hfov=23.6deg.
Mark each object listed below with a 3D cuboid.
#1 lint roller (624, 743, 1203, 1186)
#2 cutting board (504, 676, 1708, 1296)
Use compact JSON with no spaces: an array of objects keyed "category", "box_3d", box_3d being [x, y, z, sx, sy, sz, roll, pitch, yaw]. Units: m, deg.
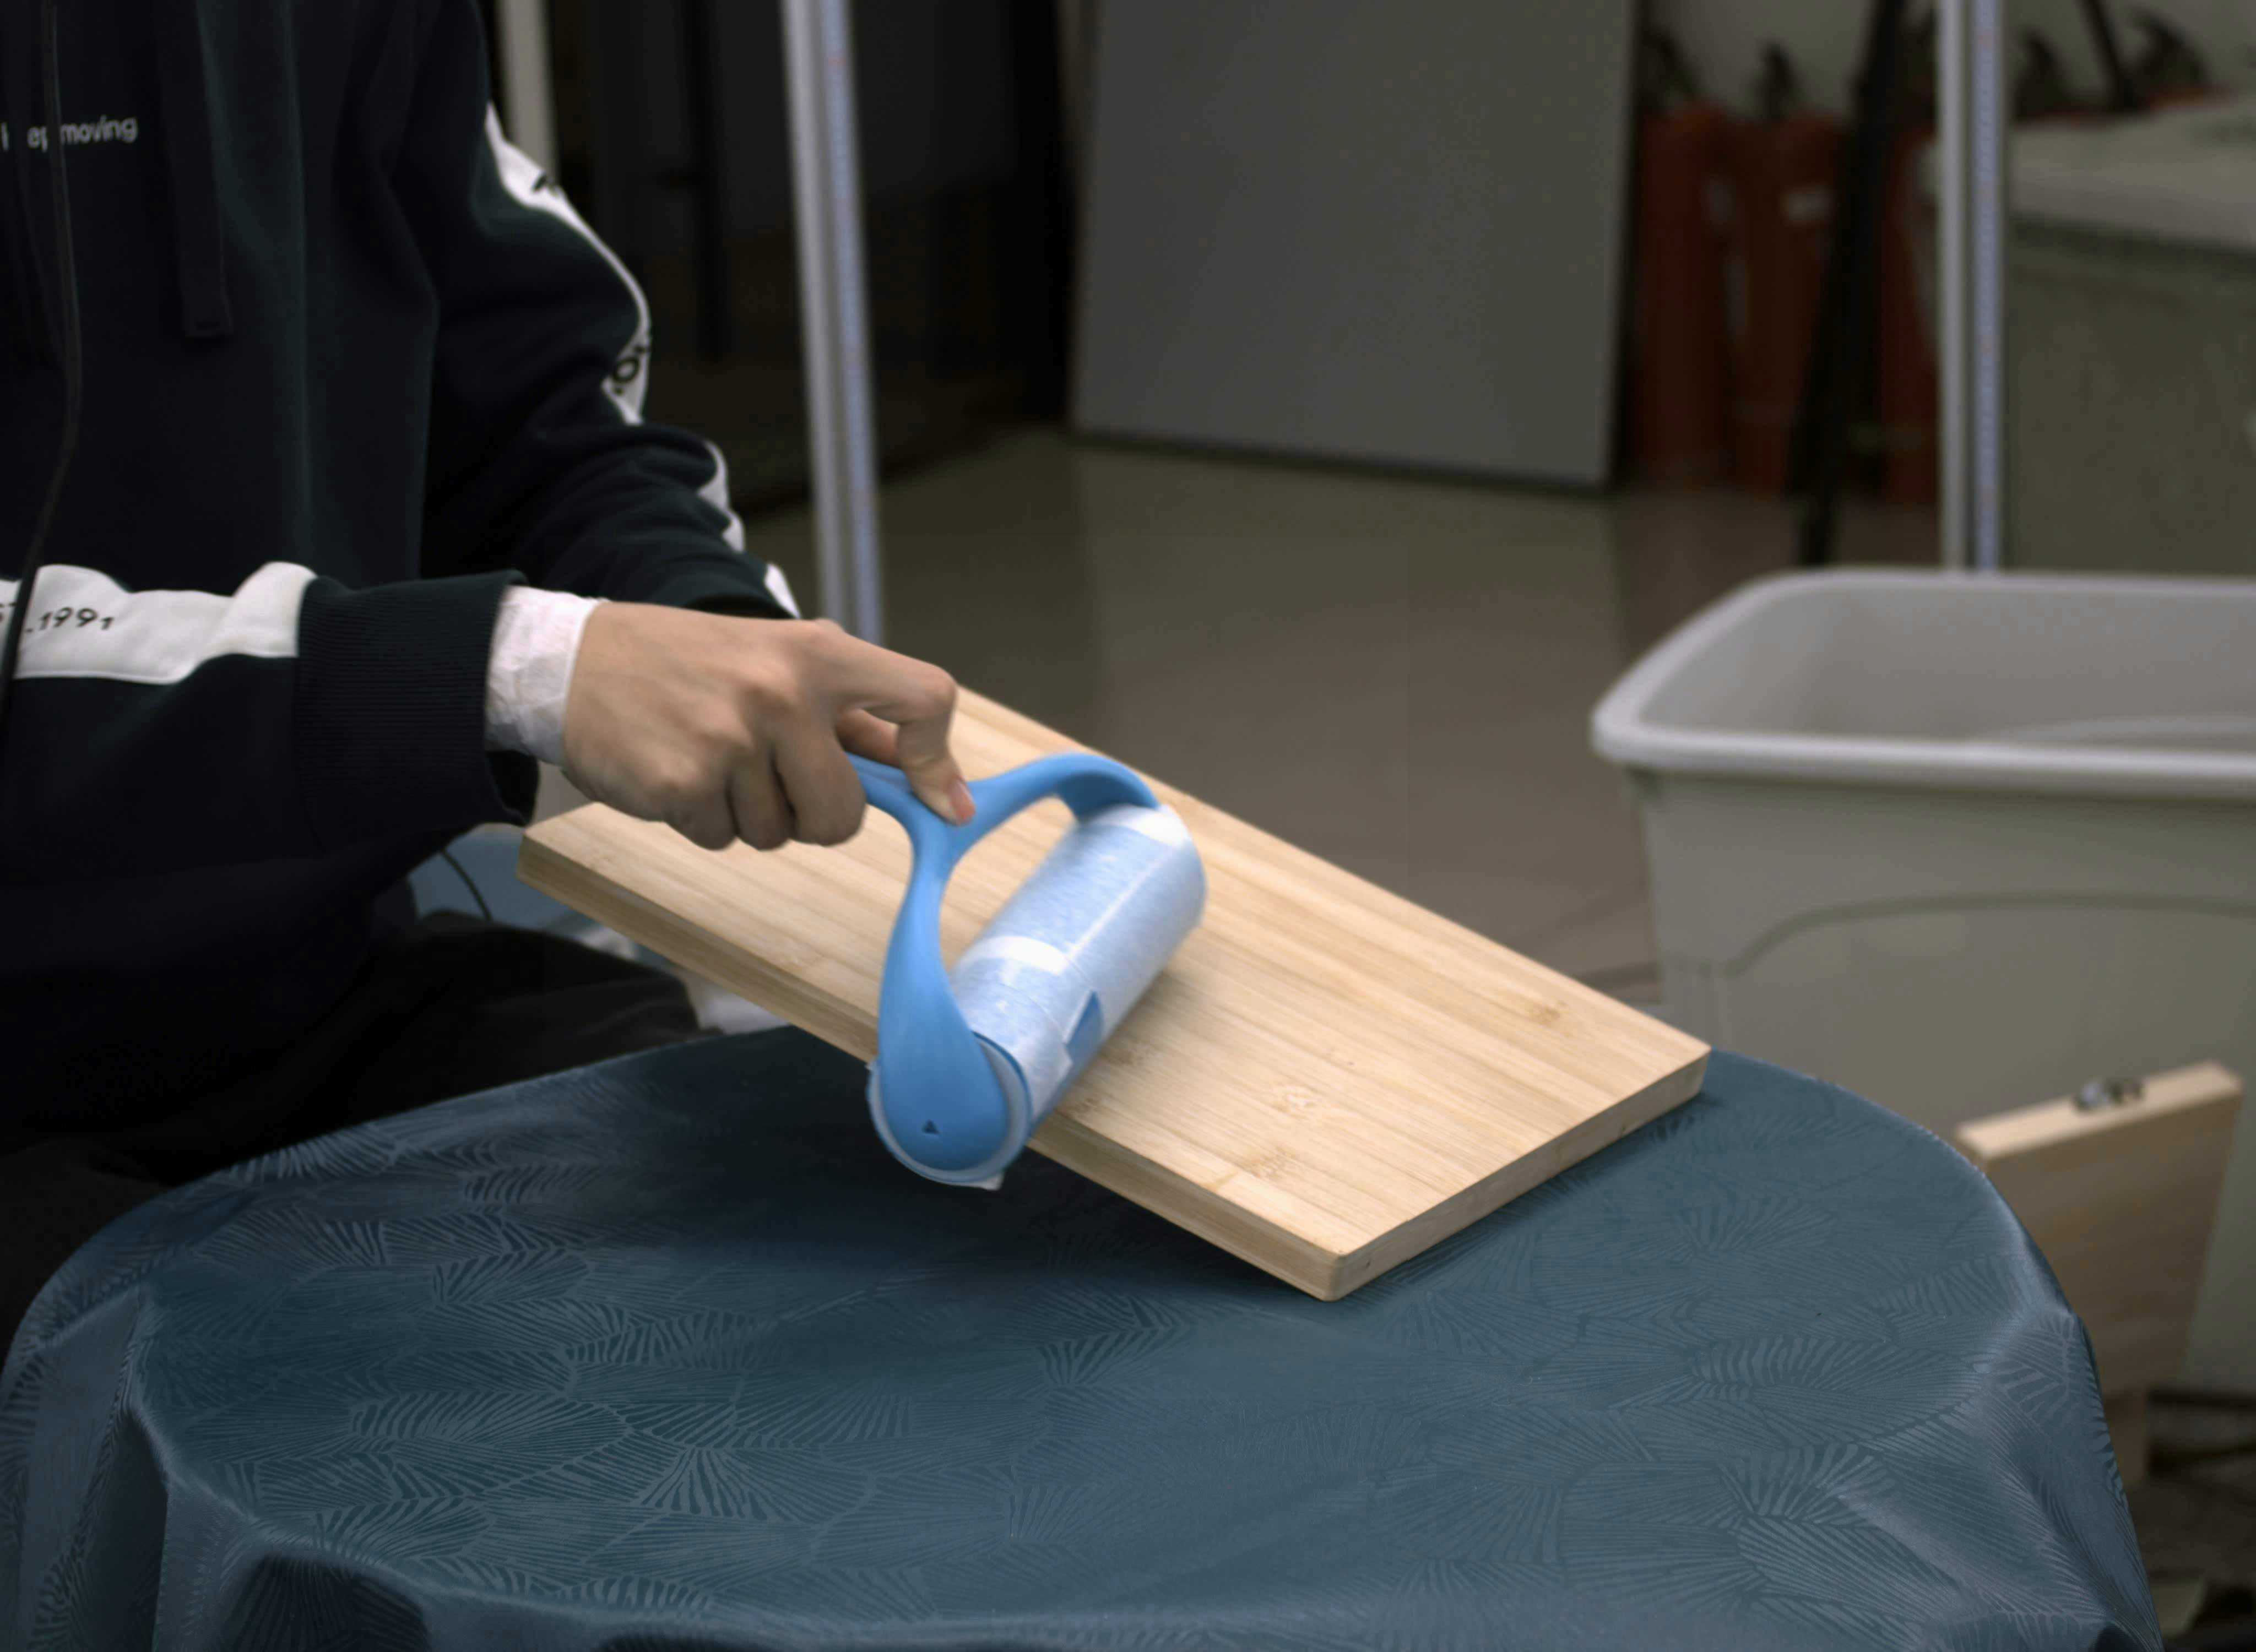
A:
[{"category":"lint roller","box_3d":[-0.074,0.016,1.718,0.179,0.068,0.227,34,28,0]},{"category":"cutting board","box_3d":[-0.007,0.046,1.825,0.350,0.024,0.246,25,27,28]}]
